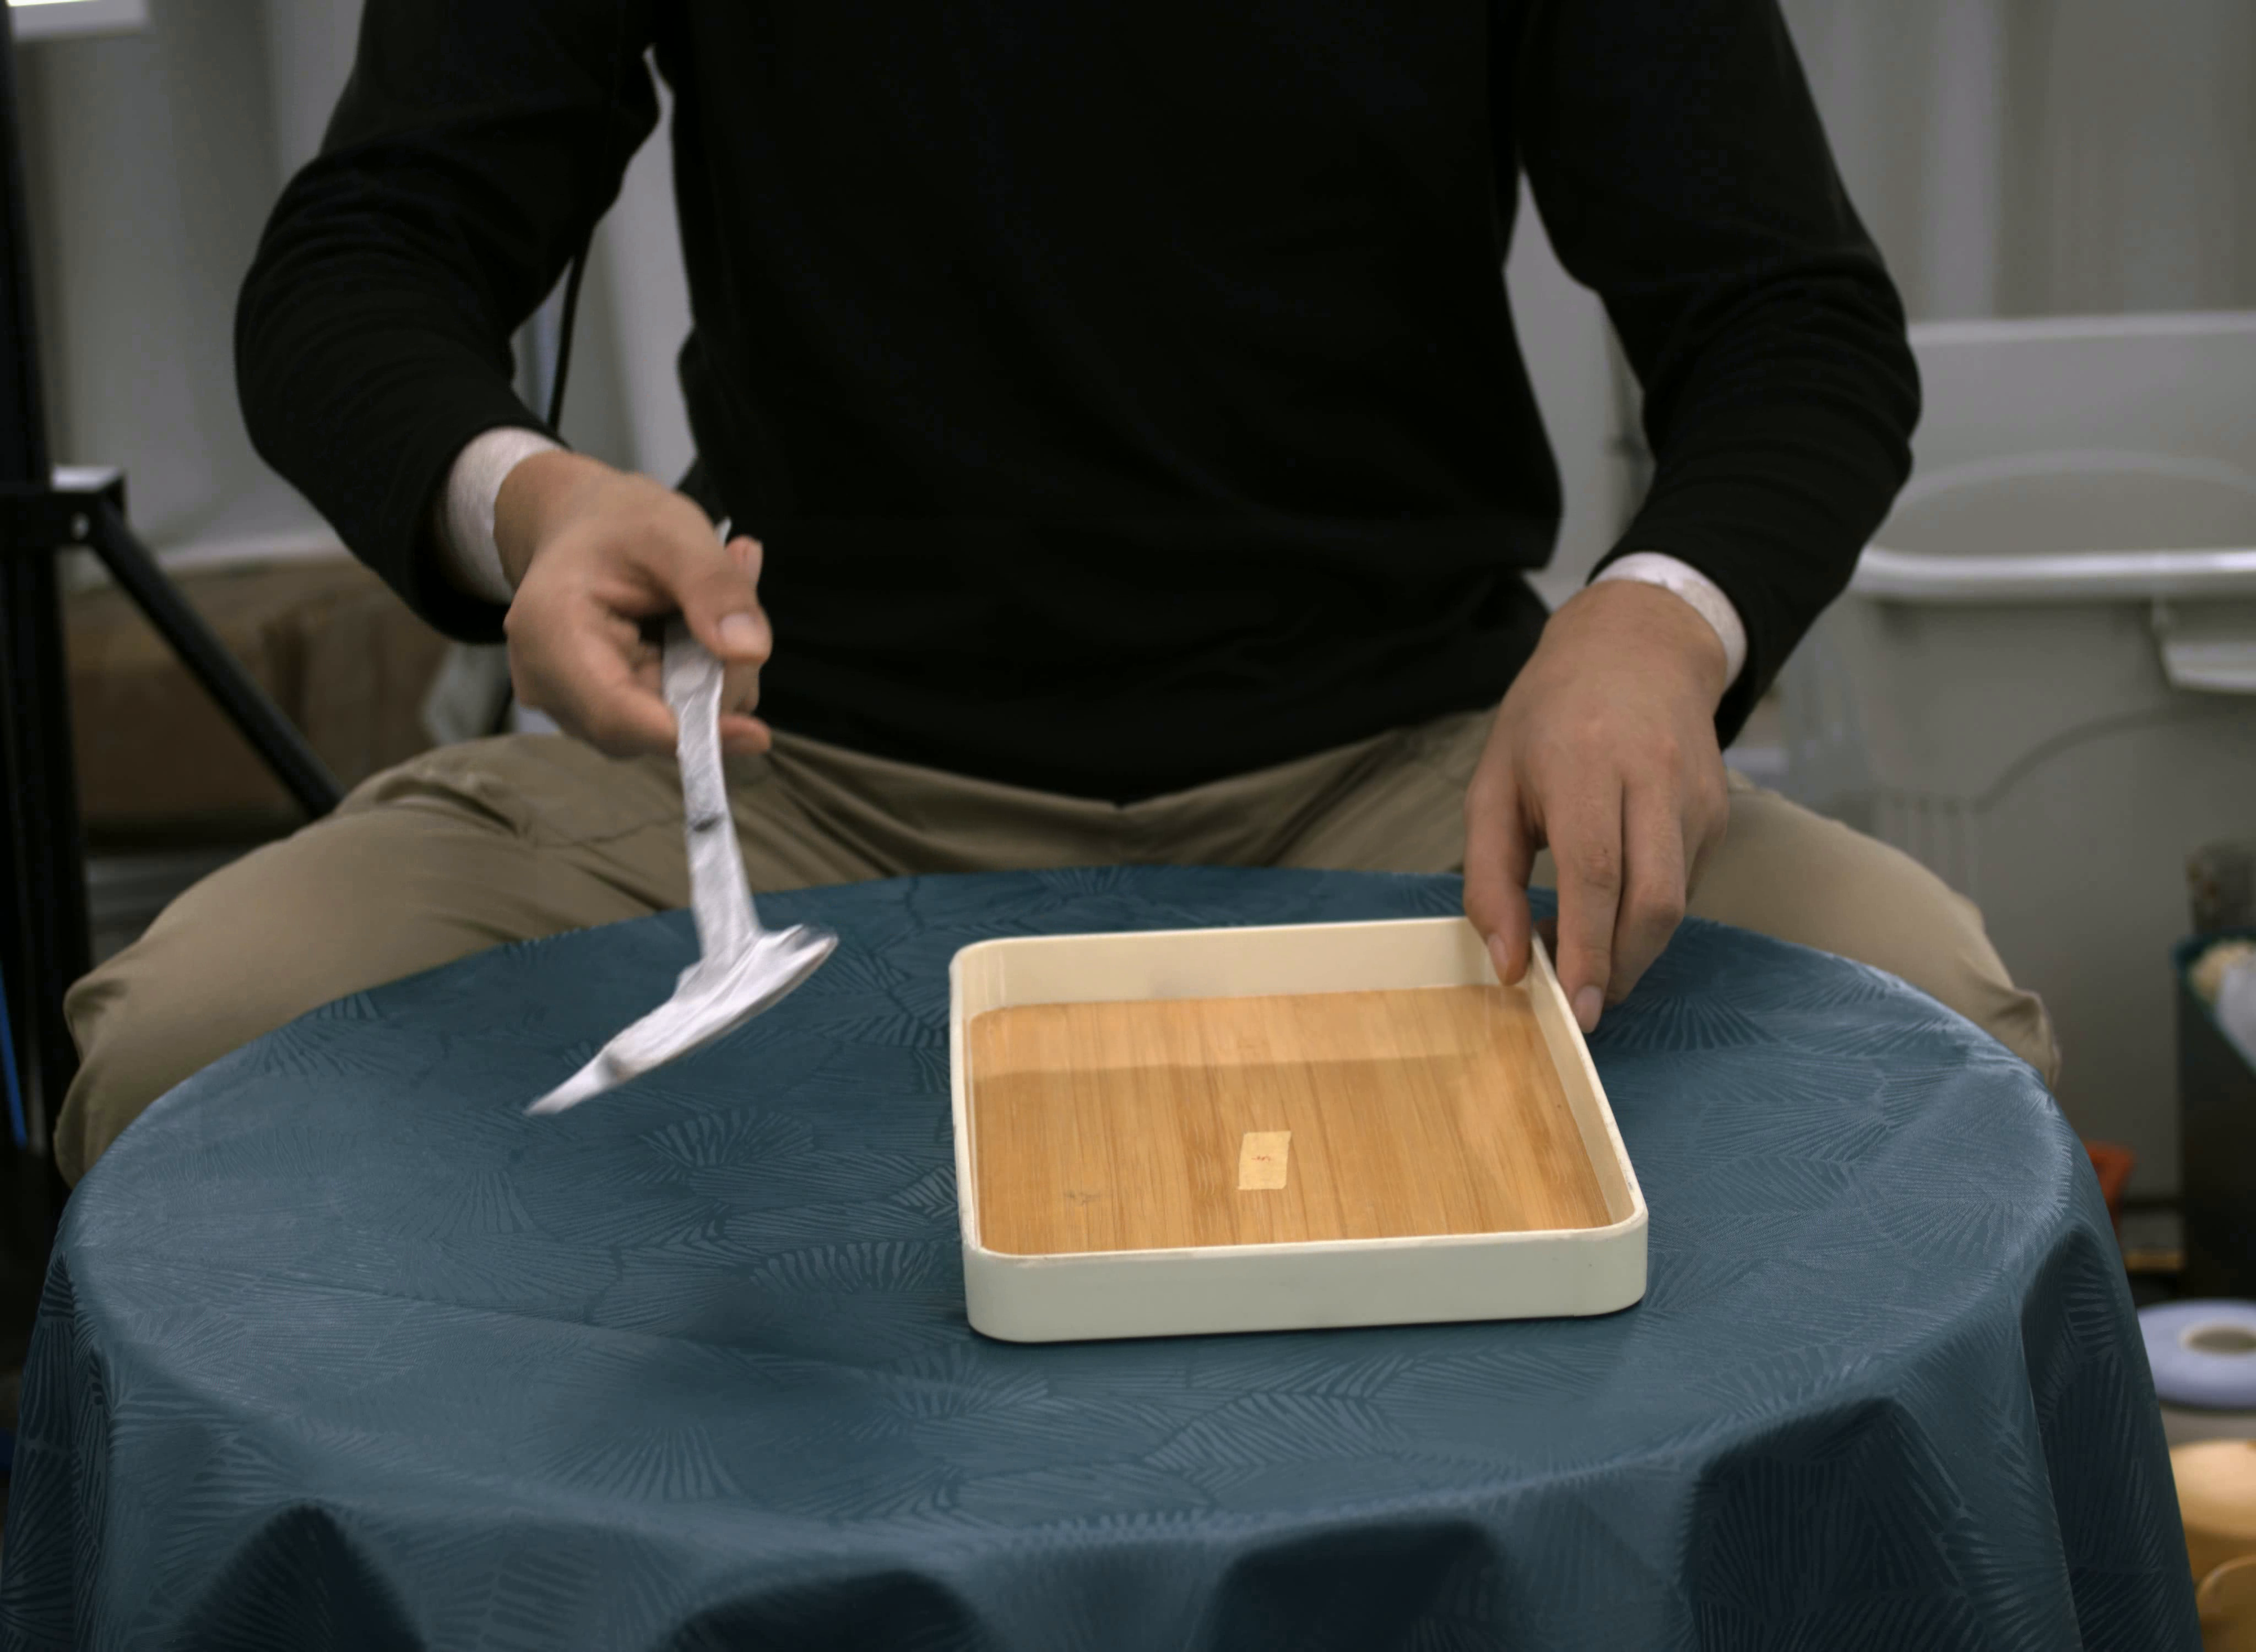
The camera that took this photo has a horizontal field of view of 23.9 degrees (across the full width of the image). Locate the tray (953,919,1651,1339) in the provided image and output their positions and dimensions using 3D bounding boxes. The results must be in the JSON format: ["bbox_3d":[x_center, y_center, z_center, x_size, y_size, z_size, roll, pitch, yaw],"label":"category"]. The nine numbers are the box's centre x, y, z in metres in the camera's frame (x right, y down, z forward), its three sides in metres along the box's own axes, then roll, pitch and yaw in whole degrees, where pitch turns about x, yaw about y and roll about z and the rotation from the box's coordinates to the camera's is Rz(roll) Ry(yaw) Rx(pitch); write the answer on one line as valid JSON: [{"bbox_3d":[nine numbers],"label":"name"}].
[{"bbox_3d":[0.044,0.086,1.579,0.190,0.027,0.302,-3,16,-1],"label":"tray"}]

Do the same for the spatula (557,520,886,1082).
[{"bbox_3d":[-0.121,-0.021,1.570,0.099,0.044,0.369,-29,28,9],"label":"spatula"}]
